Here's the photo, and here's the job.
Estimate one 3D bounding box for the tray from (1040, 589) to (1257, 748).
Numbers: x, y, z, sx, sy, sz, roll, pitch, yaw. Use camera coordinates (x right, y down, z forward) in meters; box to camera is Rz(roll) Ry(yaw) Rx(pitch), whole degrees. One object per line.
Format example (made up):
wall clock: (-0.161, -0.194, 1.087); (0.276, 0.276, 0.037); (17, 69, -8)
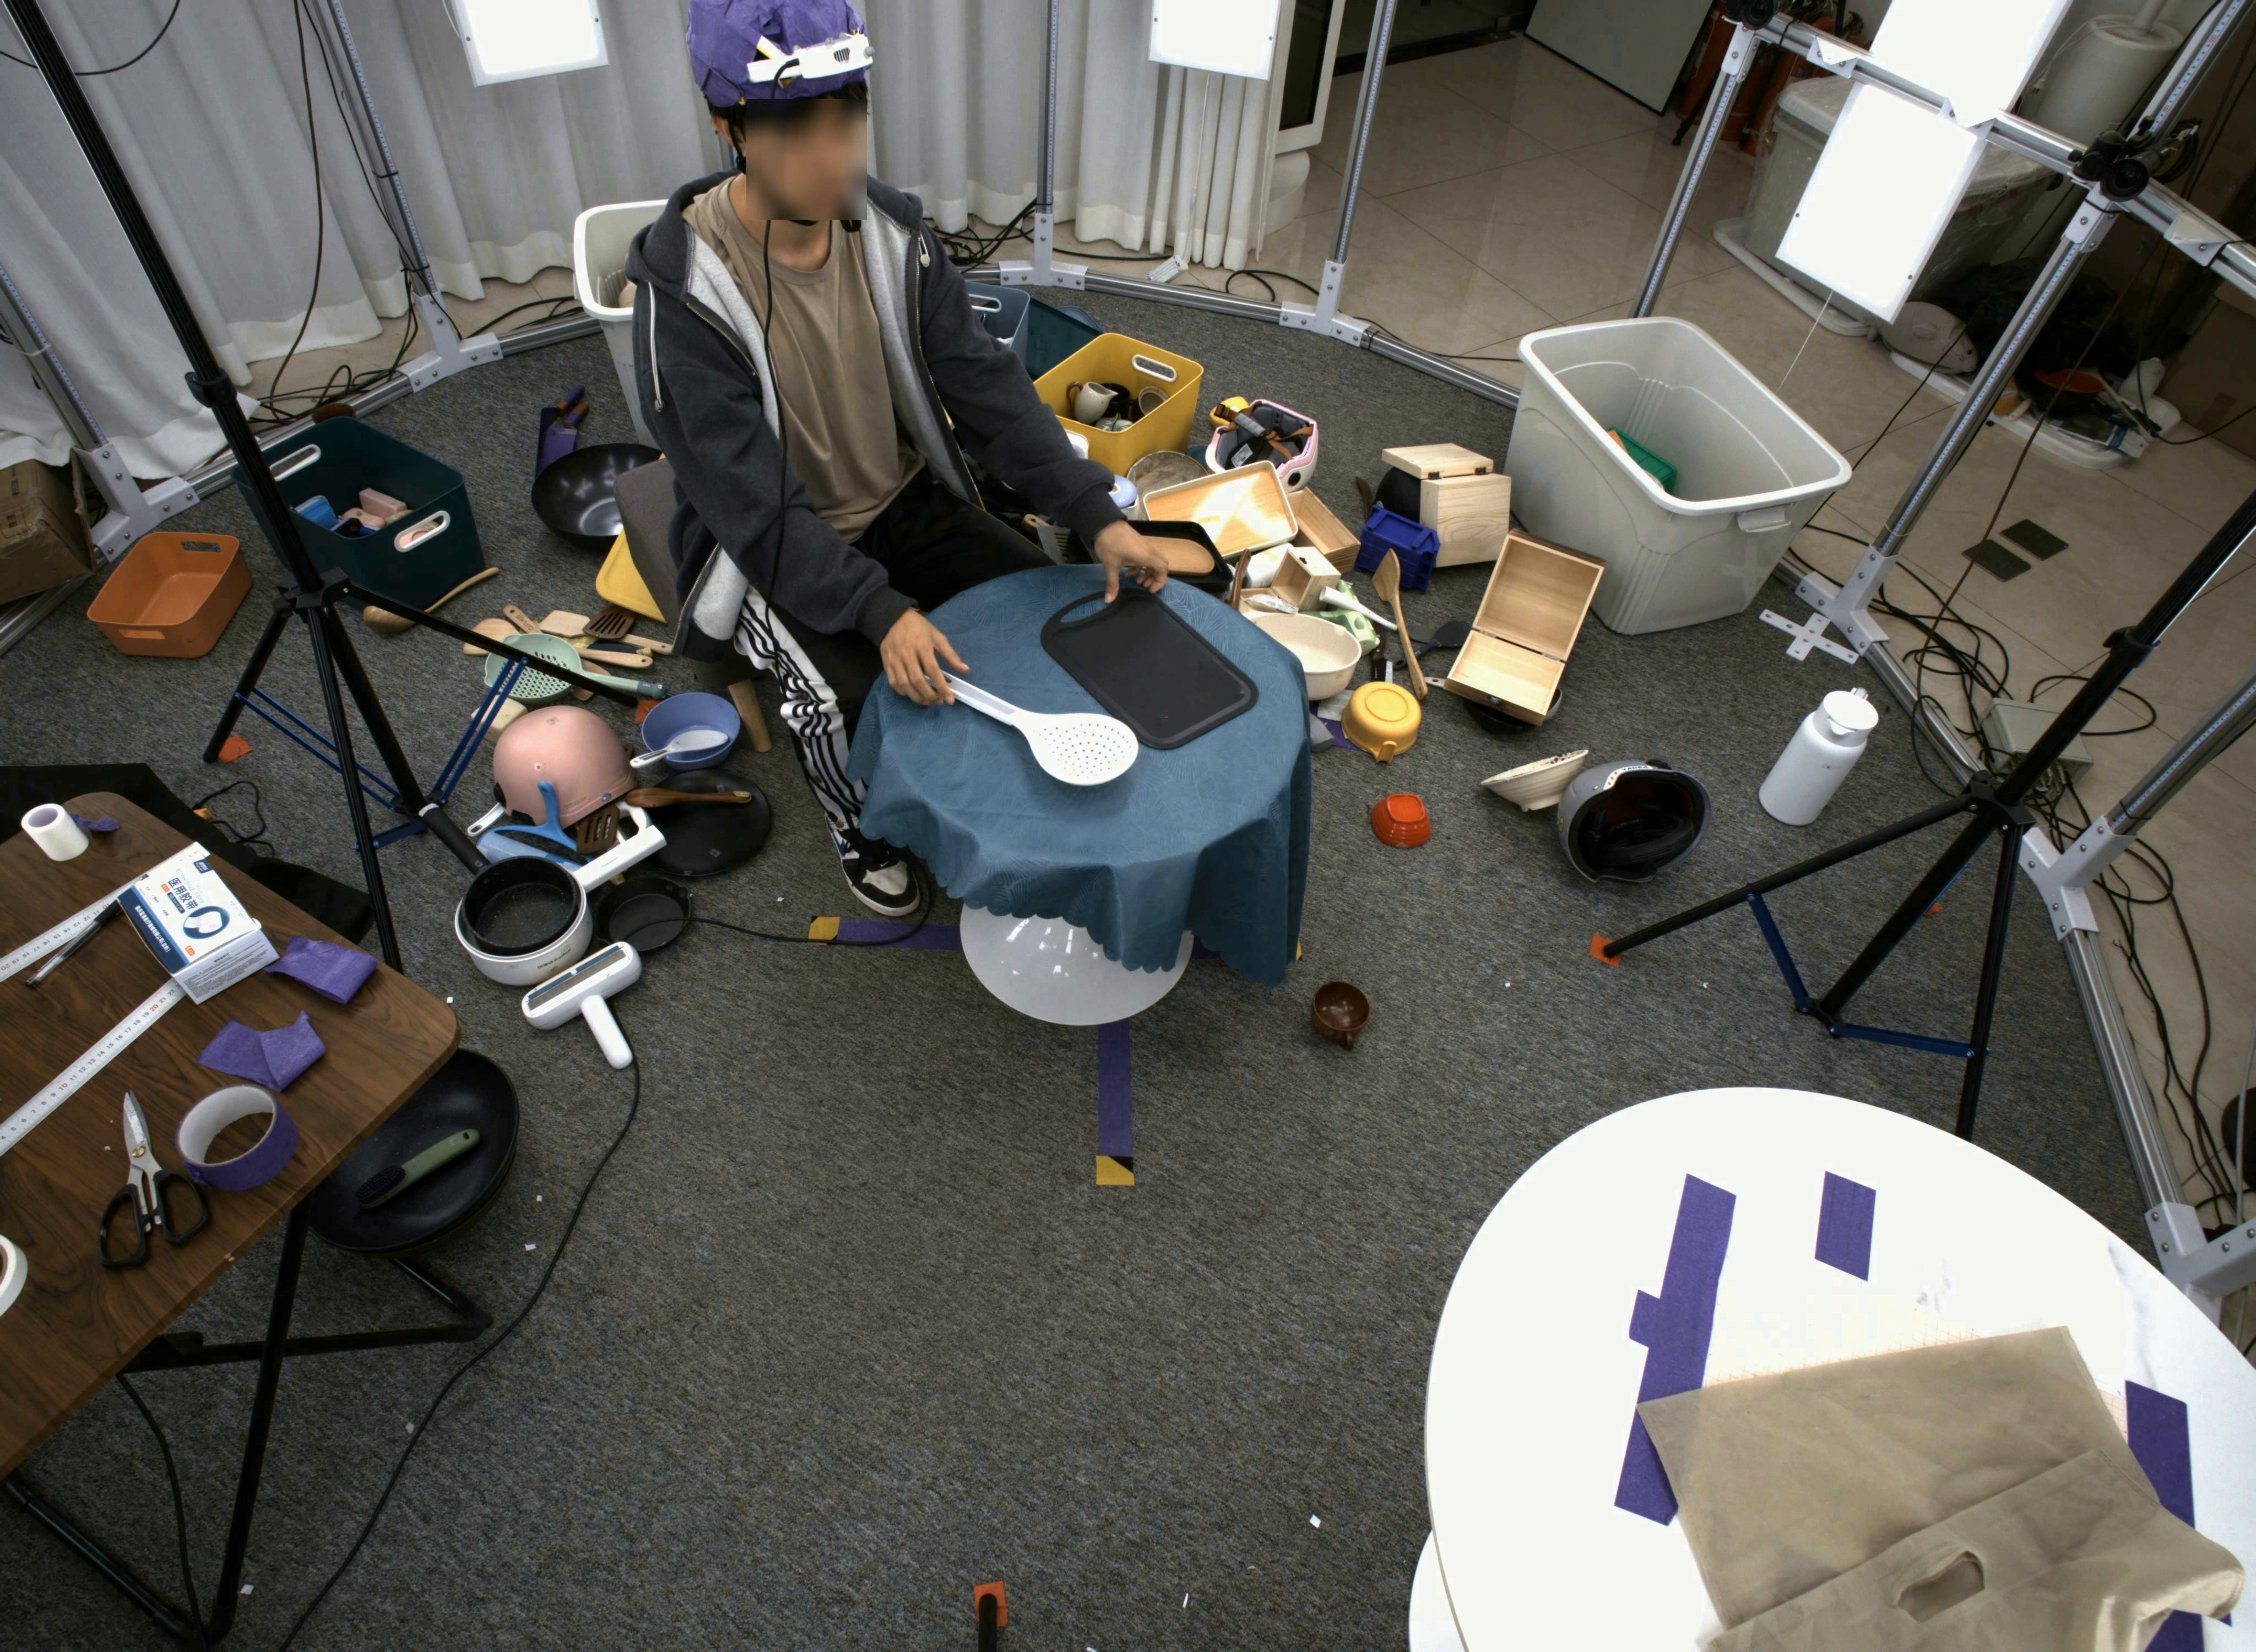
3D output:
tray: (0.022, -0.241, 1.874); (0.212, 0.009, 0.331); (-28, 56, -25)

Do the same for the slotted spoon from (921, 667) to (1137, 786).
slotted spoon: (-0.144, -0.143, 1.751); (0.353, 0.044, 0.138); (30, 51, 21)
